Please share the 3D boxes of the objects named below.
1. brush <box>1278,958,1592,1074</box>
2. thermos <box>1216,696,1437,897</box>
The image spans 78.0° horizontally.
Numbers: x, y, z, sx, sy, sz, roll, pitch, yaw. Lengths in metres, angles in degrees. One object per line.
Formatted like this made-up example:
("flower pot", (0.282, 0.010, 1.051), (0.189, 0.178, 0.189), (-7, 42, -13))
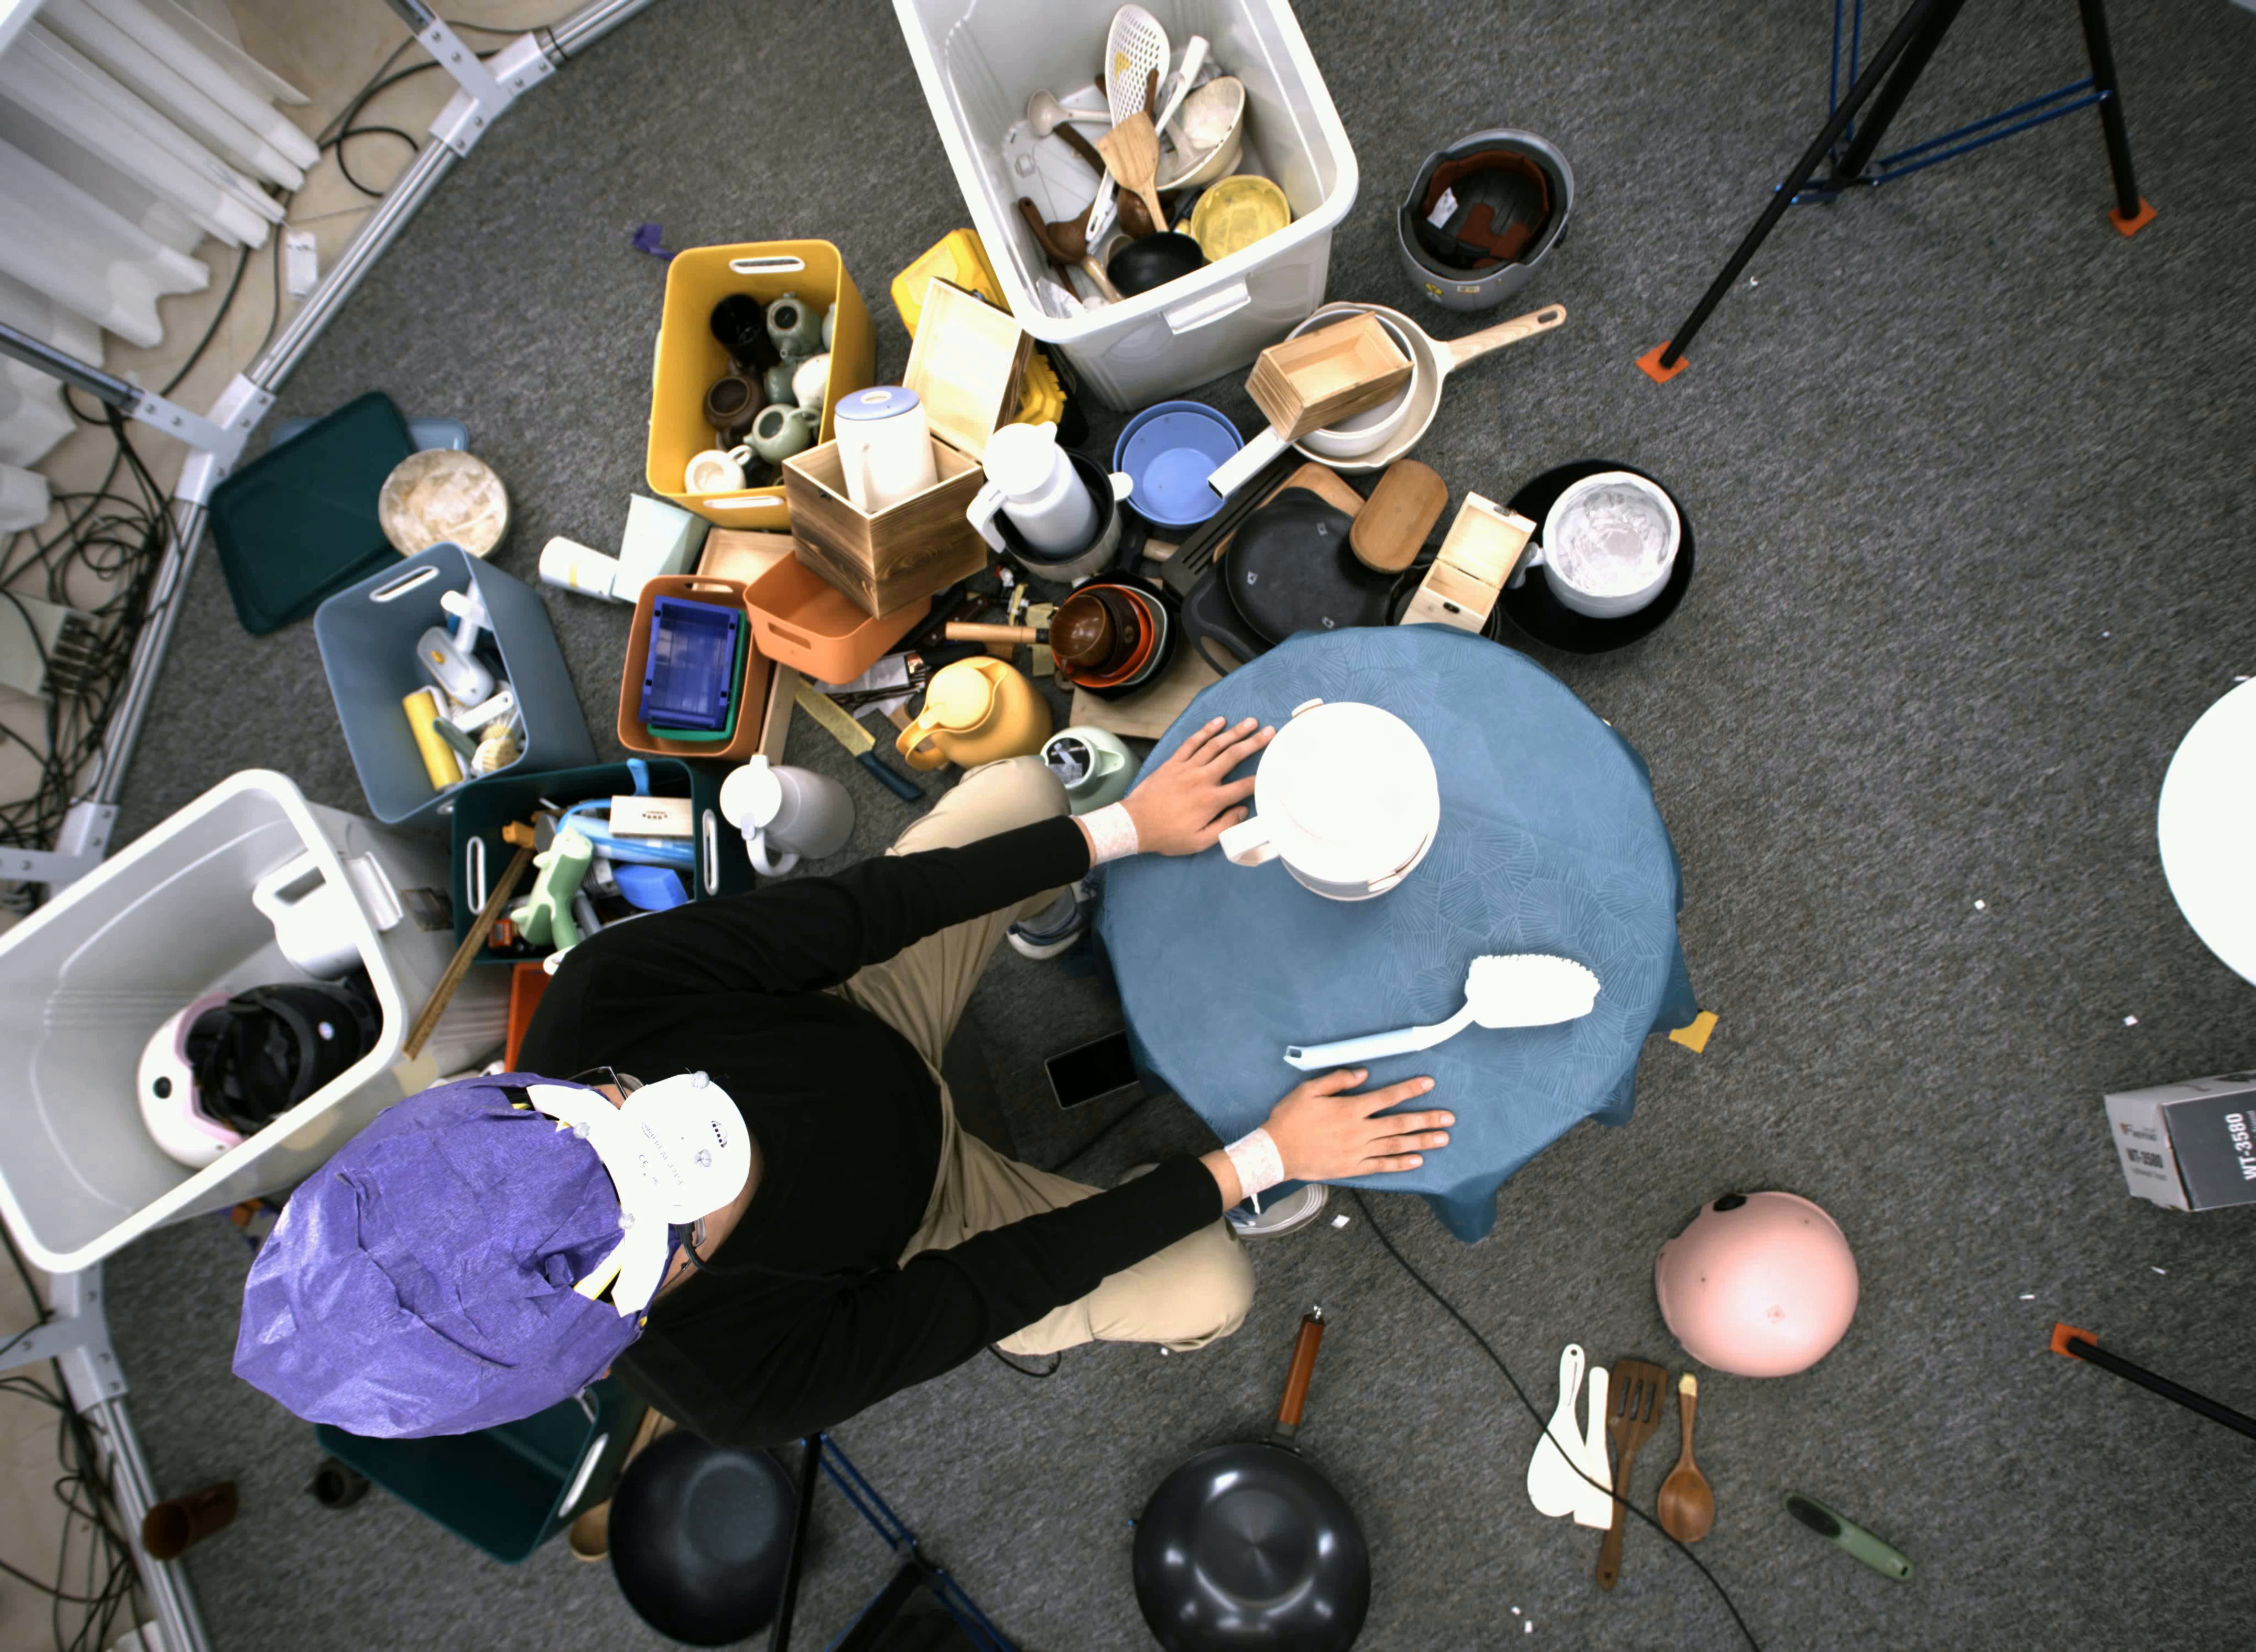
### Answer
("brush", (0.308, 0.188, 1.405), (0.327, 0.083, 0.084), (-12, 89, 8))
("thermos", (0.187, -0.018, 1.279), (0.208, 0.406, 0.174), (-24, 82, 6))
